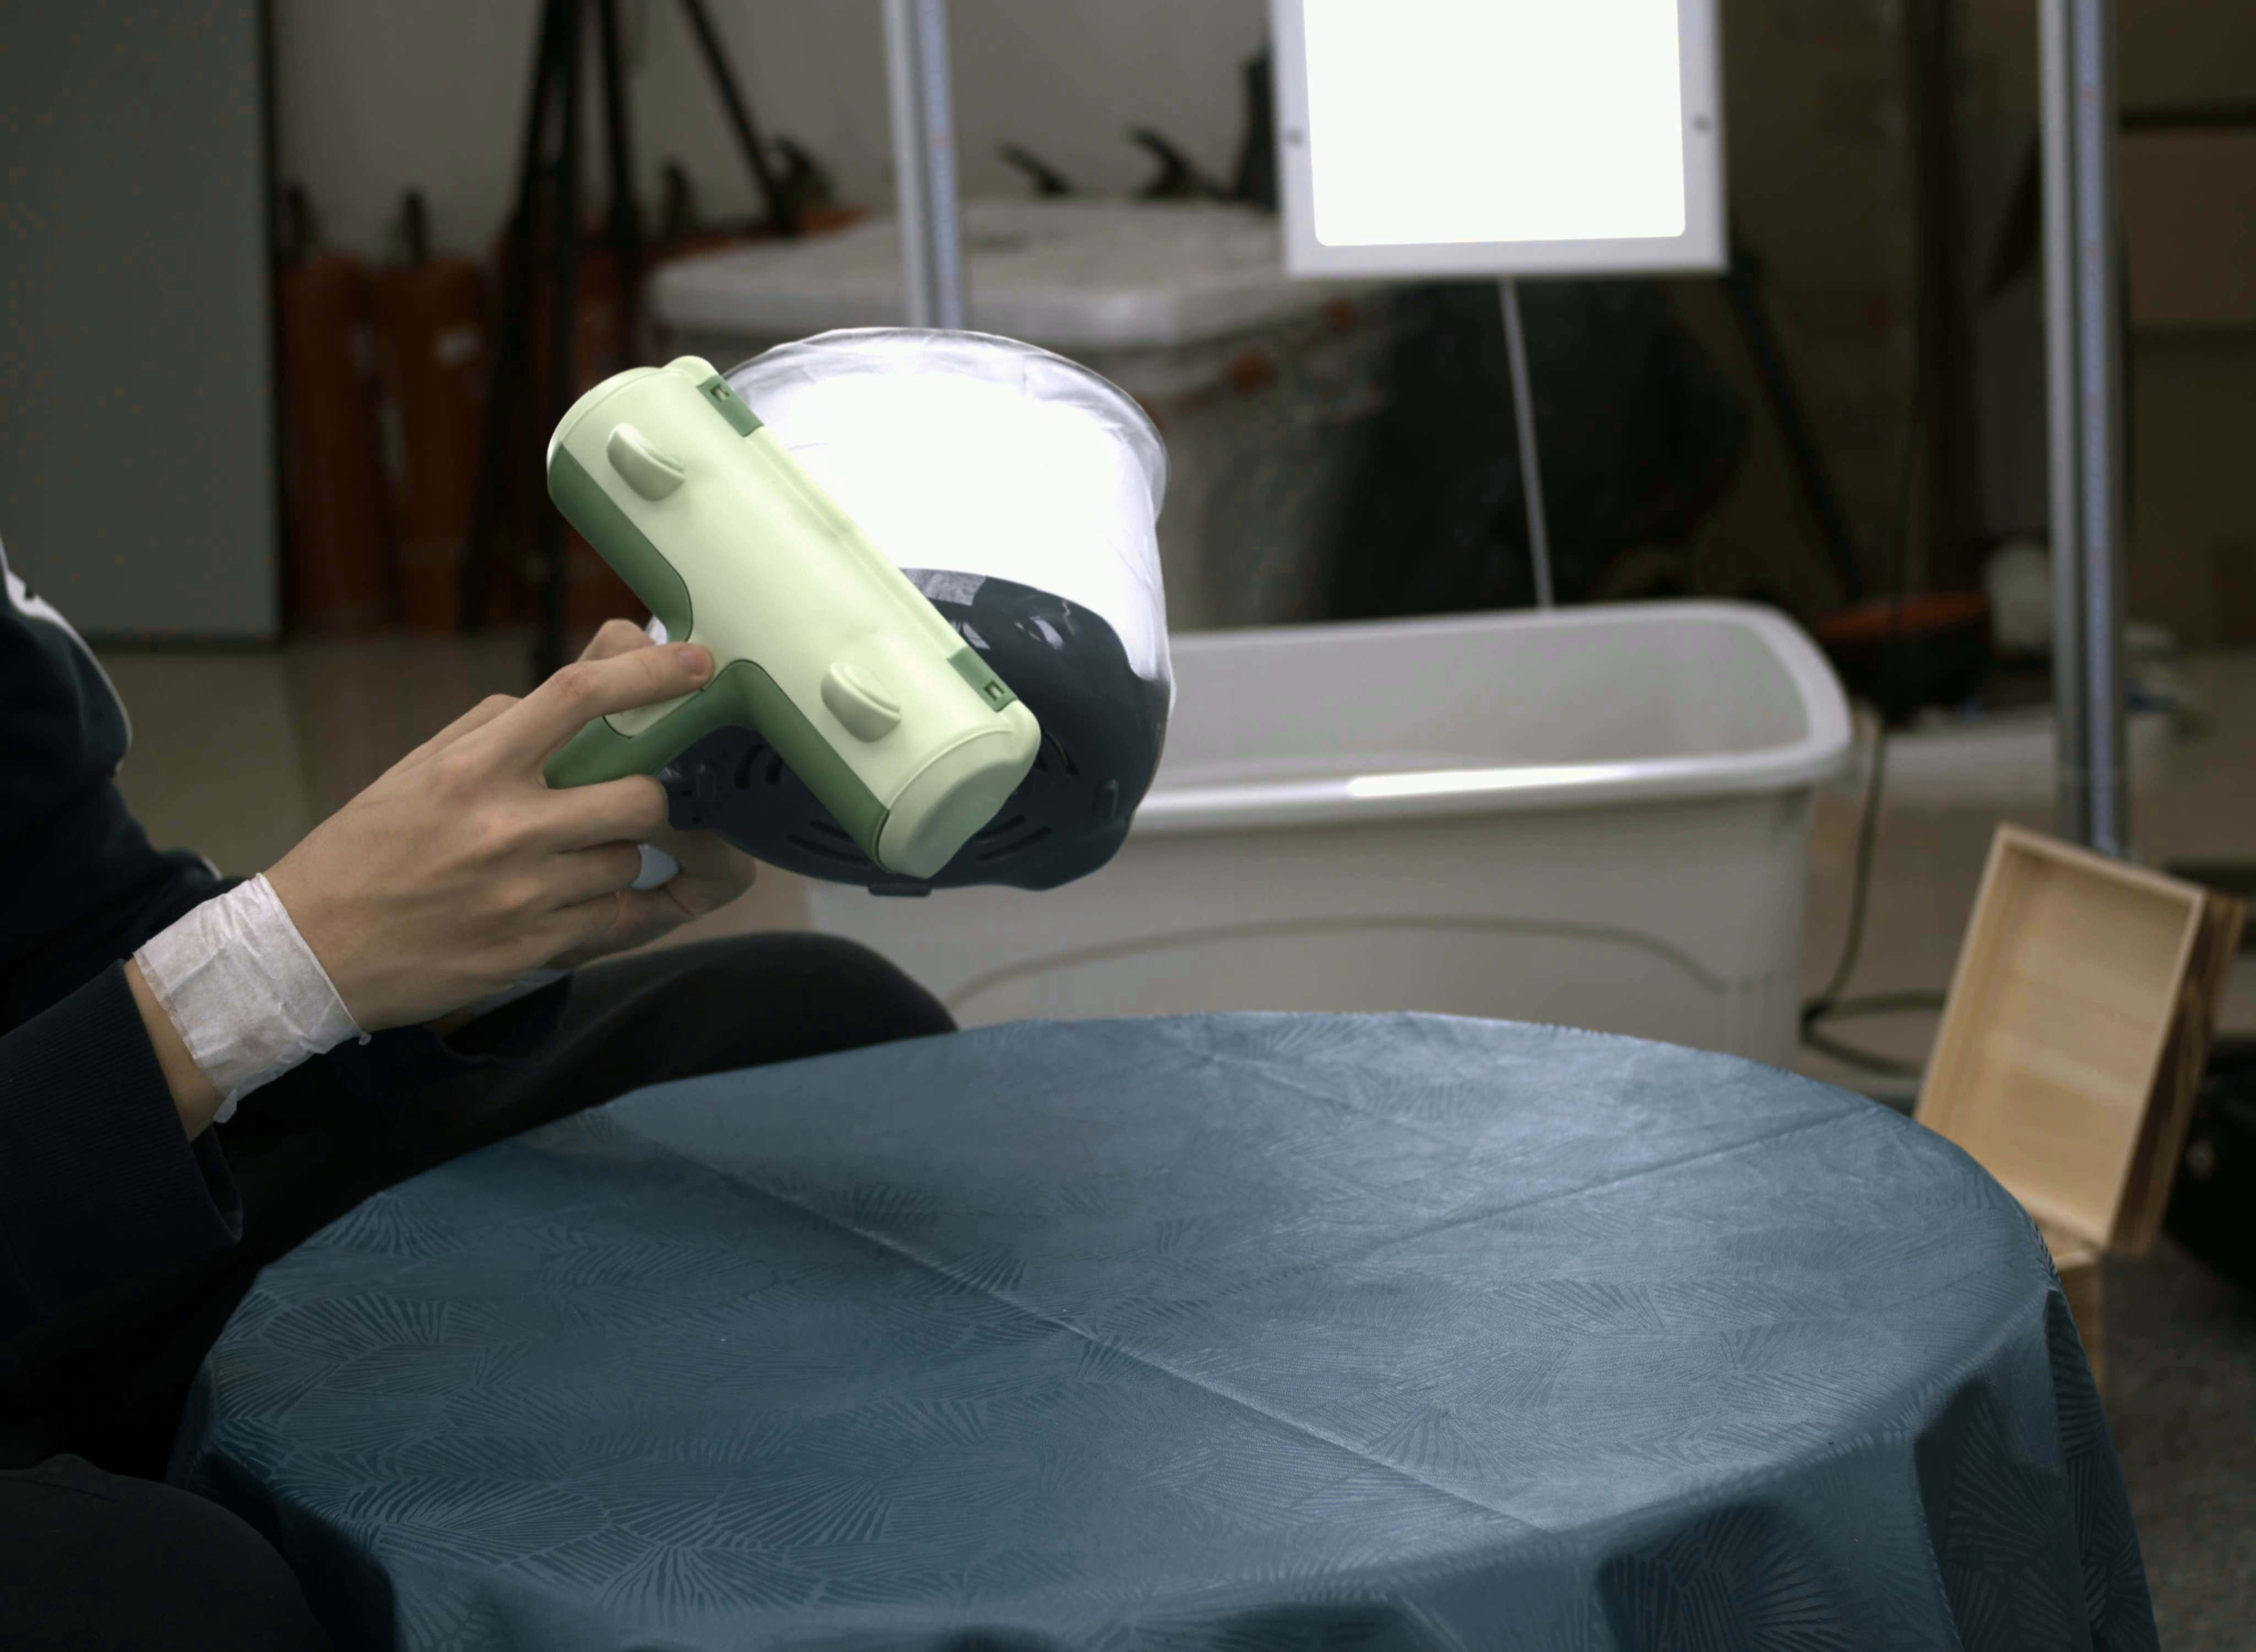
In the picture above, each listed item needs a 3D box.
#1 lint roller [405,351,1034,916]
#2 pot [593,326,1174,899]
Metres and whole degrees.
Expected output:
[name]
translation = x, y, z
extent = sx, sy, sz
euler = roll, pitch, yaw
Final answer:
[lint roller]
translation = -0.157, -0.041, 1.741
extent = 0.181, 0.082, 0.200
euler = -35, 64, -14
[pot]
translation = -0.094, -0.060, 1.905
extent = 0.239, 0.136, 0.175
euler = -22, -38, 36
